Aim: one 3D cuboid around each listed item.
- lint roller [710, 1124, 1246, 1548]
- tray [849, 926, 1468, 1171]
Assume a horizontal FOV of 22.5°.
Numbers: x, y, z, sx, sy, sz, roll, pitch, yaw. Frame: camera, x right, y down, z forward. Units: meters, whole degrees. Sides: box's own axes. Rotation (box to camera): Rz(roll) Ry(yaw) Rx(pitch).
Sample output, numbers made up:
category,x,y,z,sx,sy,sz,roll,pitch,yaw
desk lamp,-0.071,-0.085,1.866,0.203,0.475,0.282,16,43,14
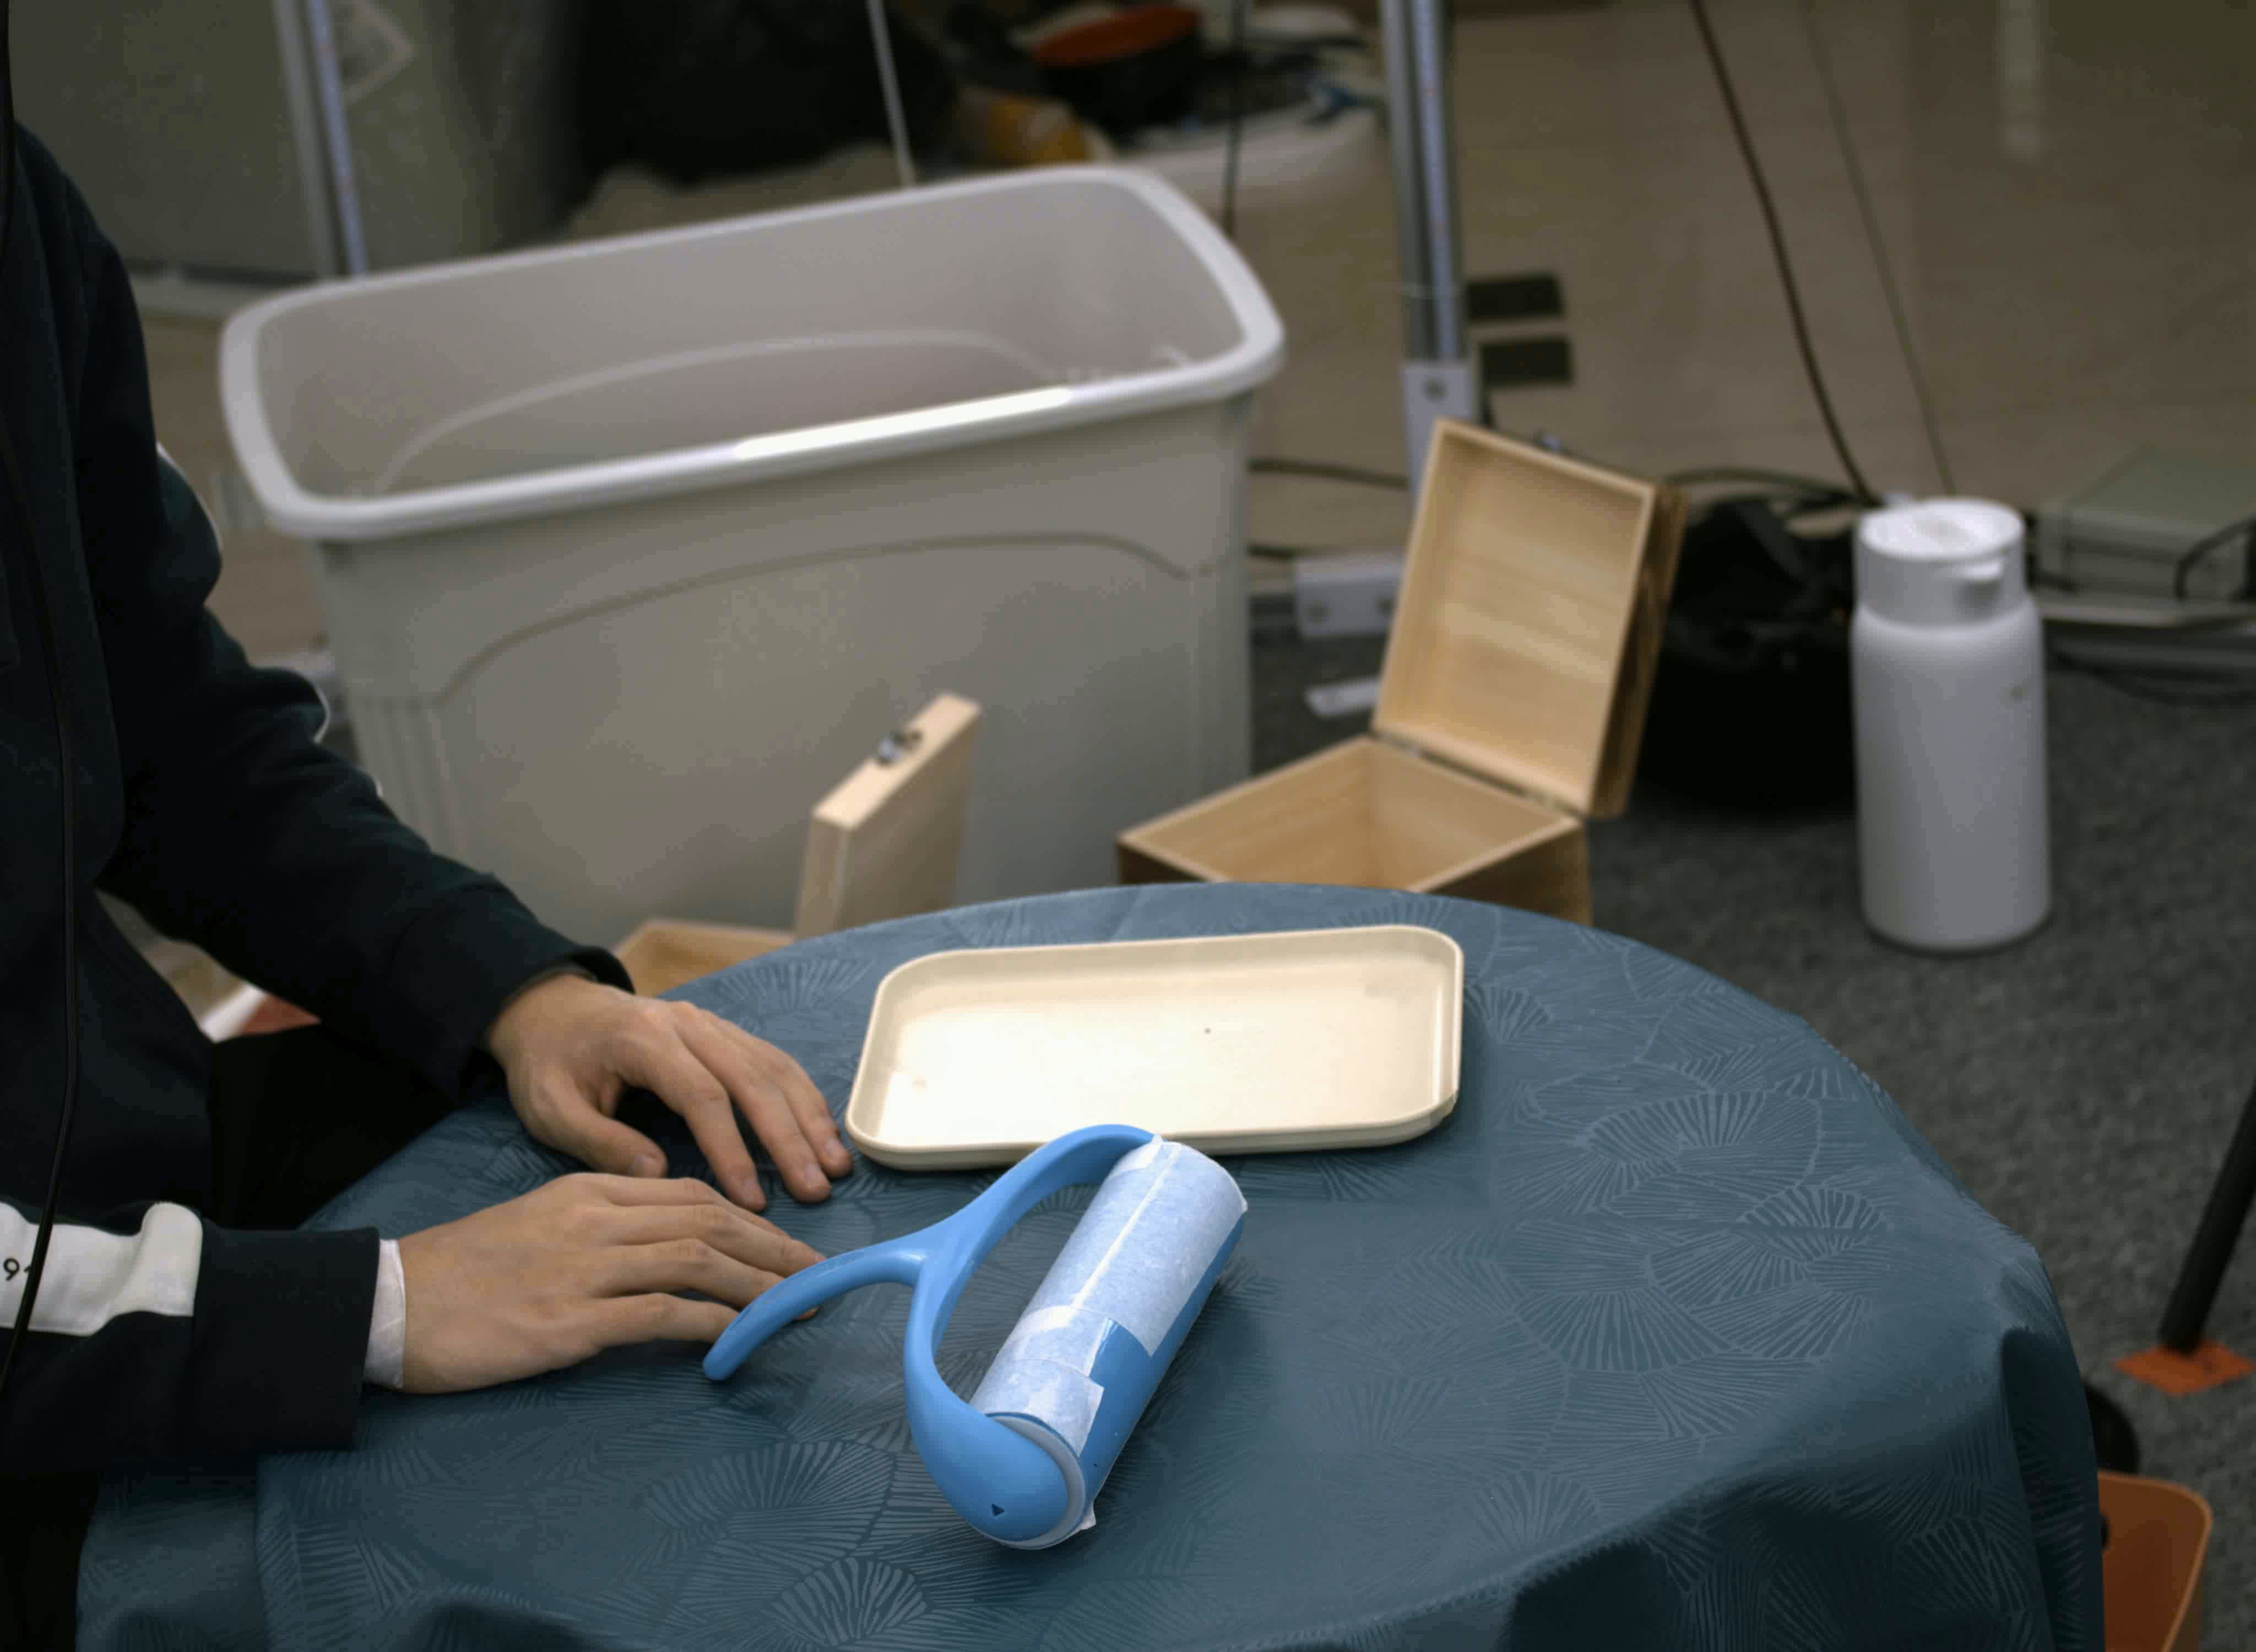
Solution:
category,x,y,z,sx,sy,sz,roll,pitch,yaw
lint roller,-0.067,0.177,2.011,0.180,0.069,0.225,2,28,15
tray,0.015,0.088,2.227,0.239,0.018,0.169,-4,24,6
